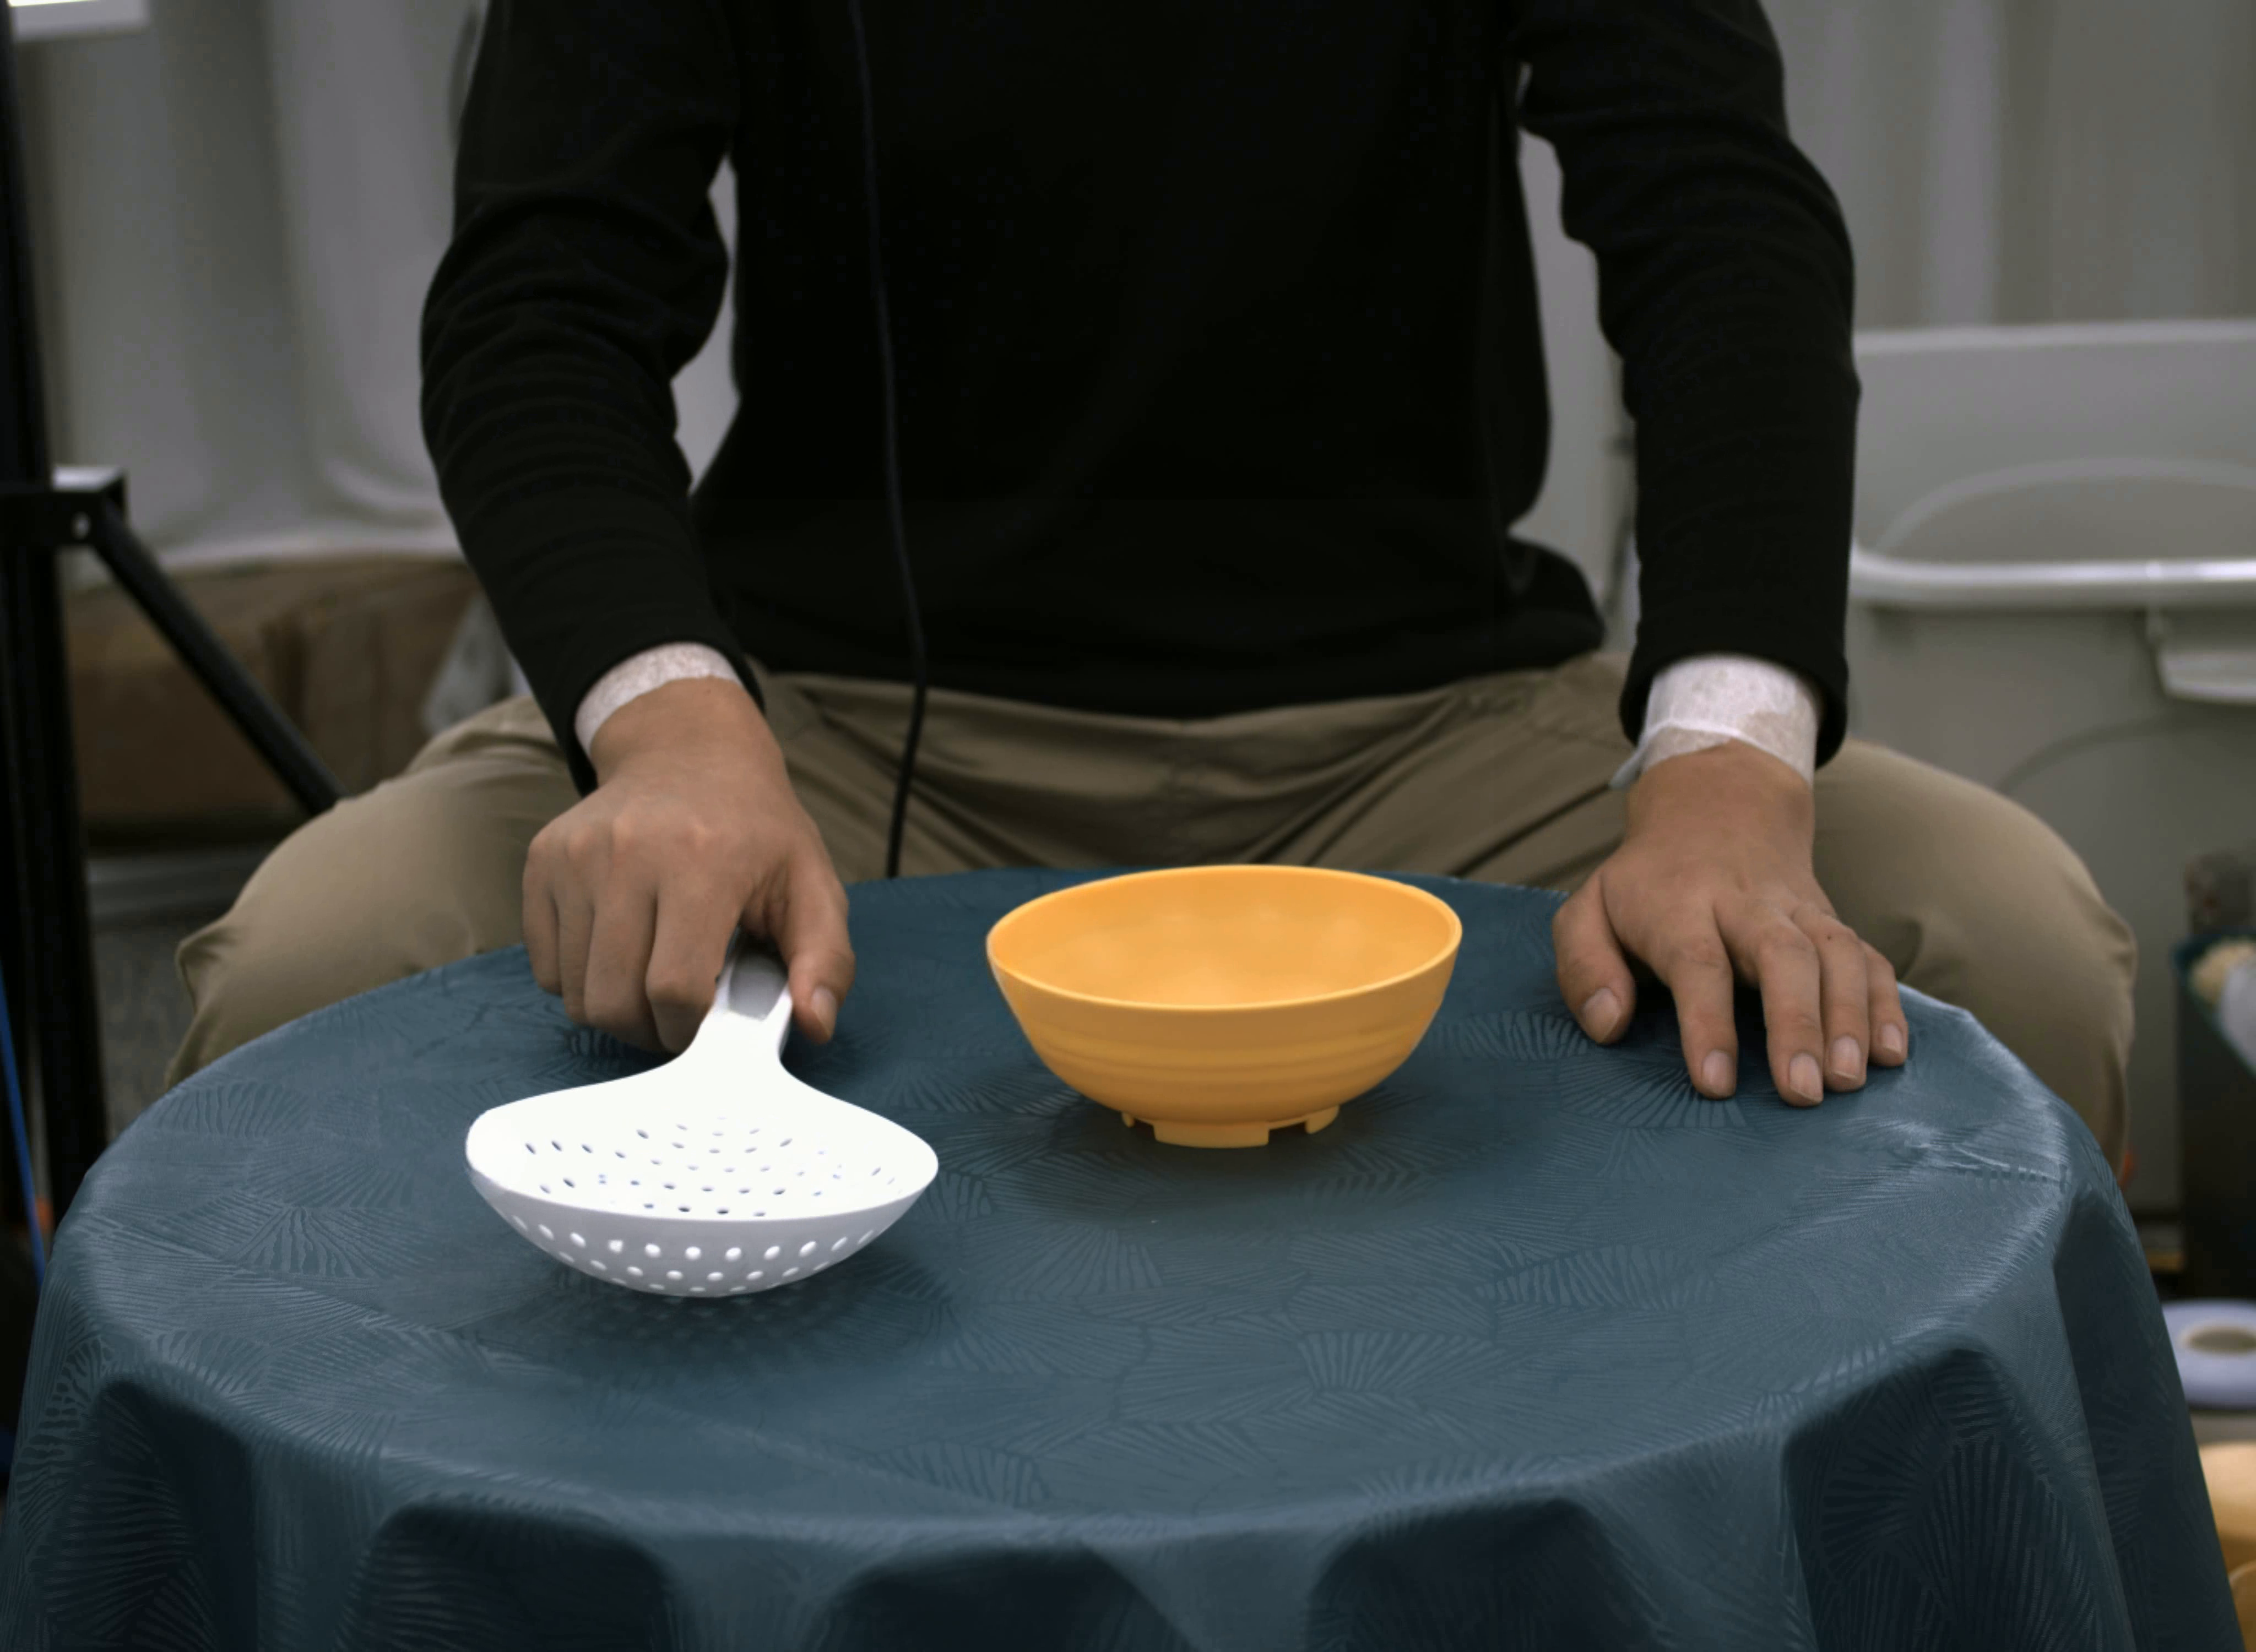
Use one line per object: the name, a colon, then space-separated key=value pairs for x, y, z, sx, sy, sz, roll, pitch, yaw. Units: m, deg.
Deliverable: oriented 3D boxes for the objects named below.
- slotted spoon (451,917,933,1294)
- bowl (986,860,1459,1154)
slotted spoon: x=-0.120 y=0.074 z=1.598 sx=0.135 sy=0.046 sz=0.351 roll=3 pitch=17 yaw=1
bowl: x=0.029 y=0.061 z=1.616 sx=0.144 sy=0.060 sz=0.146 roll=-2 pitch=17 yaw=-1
